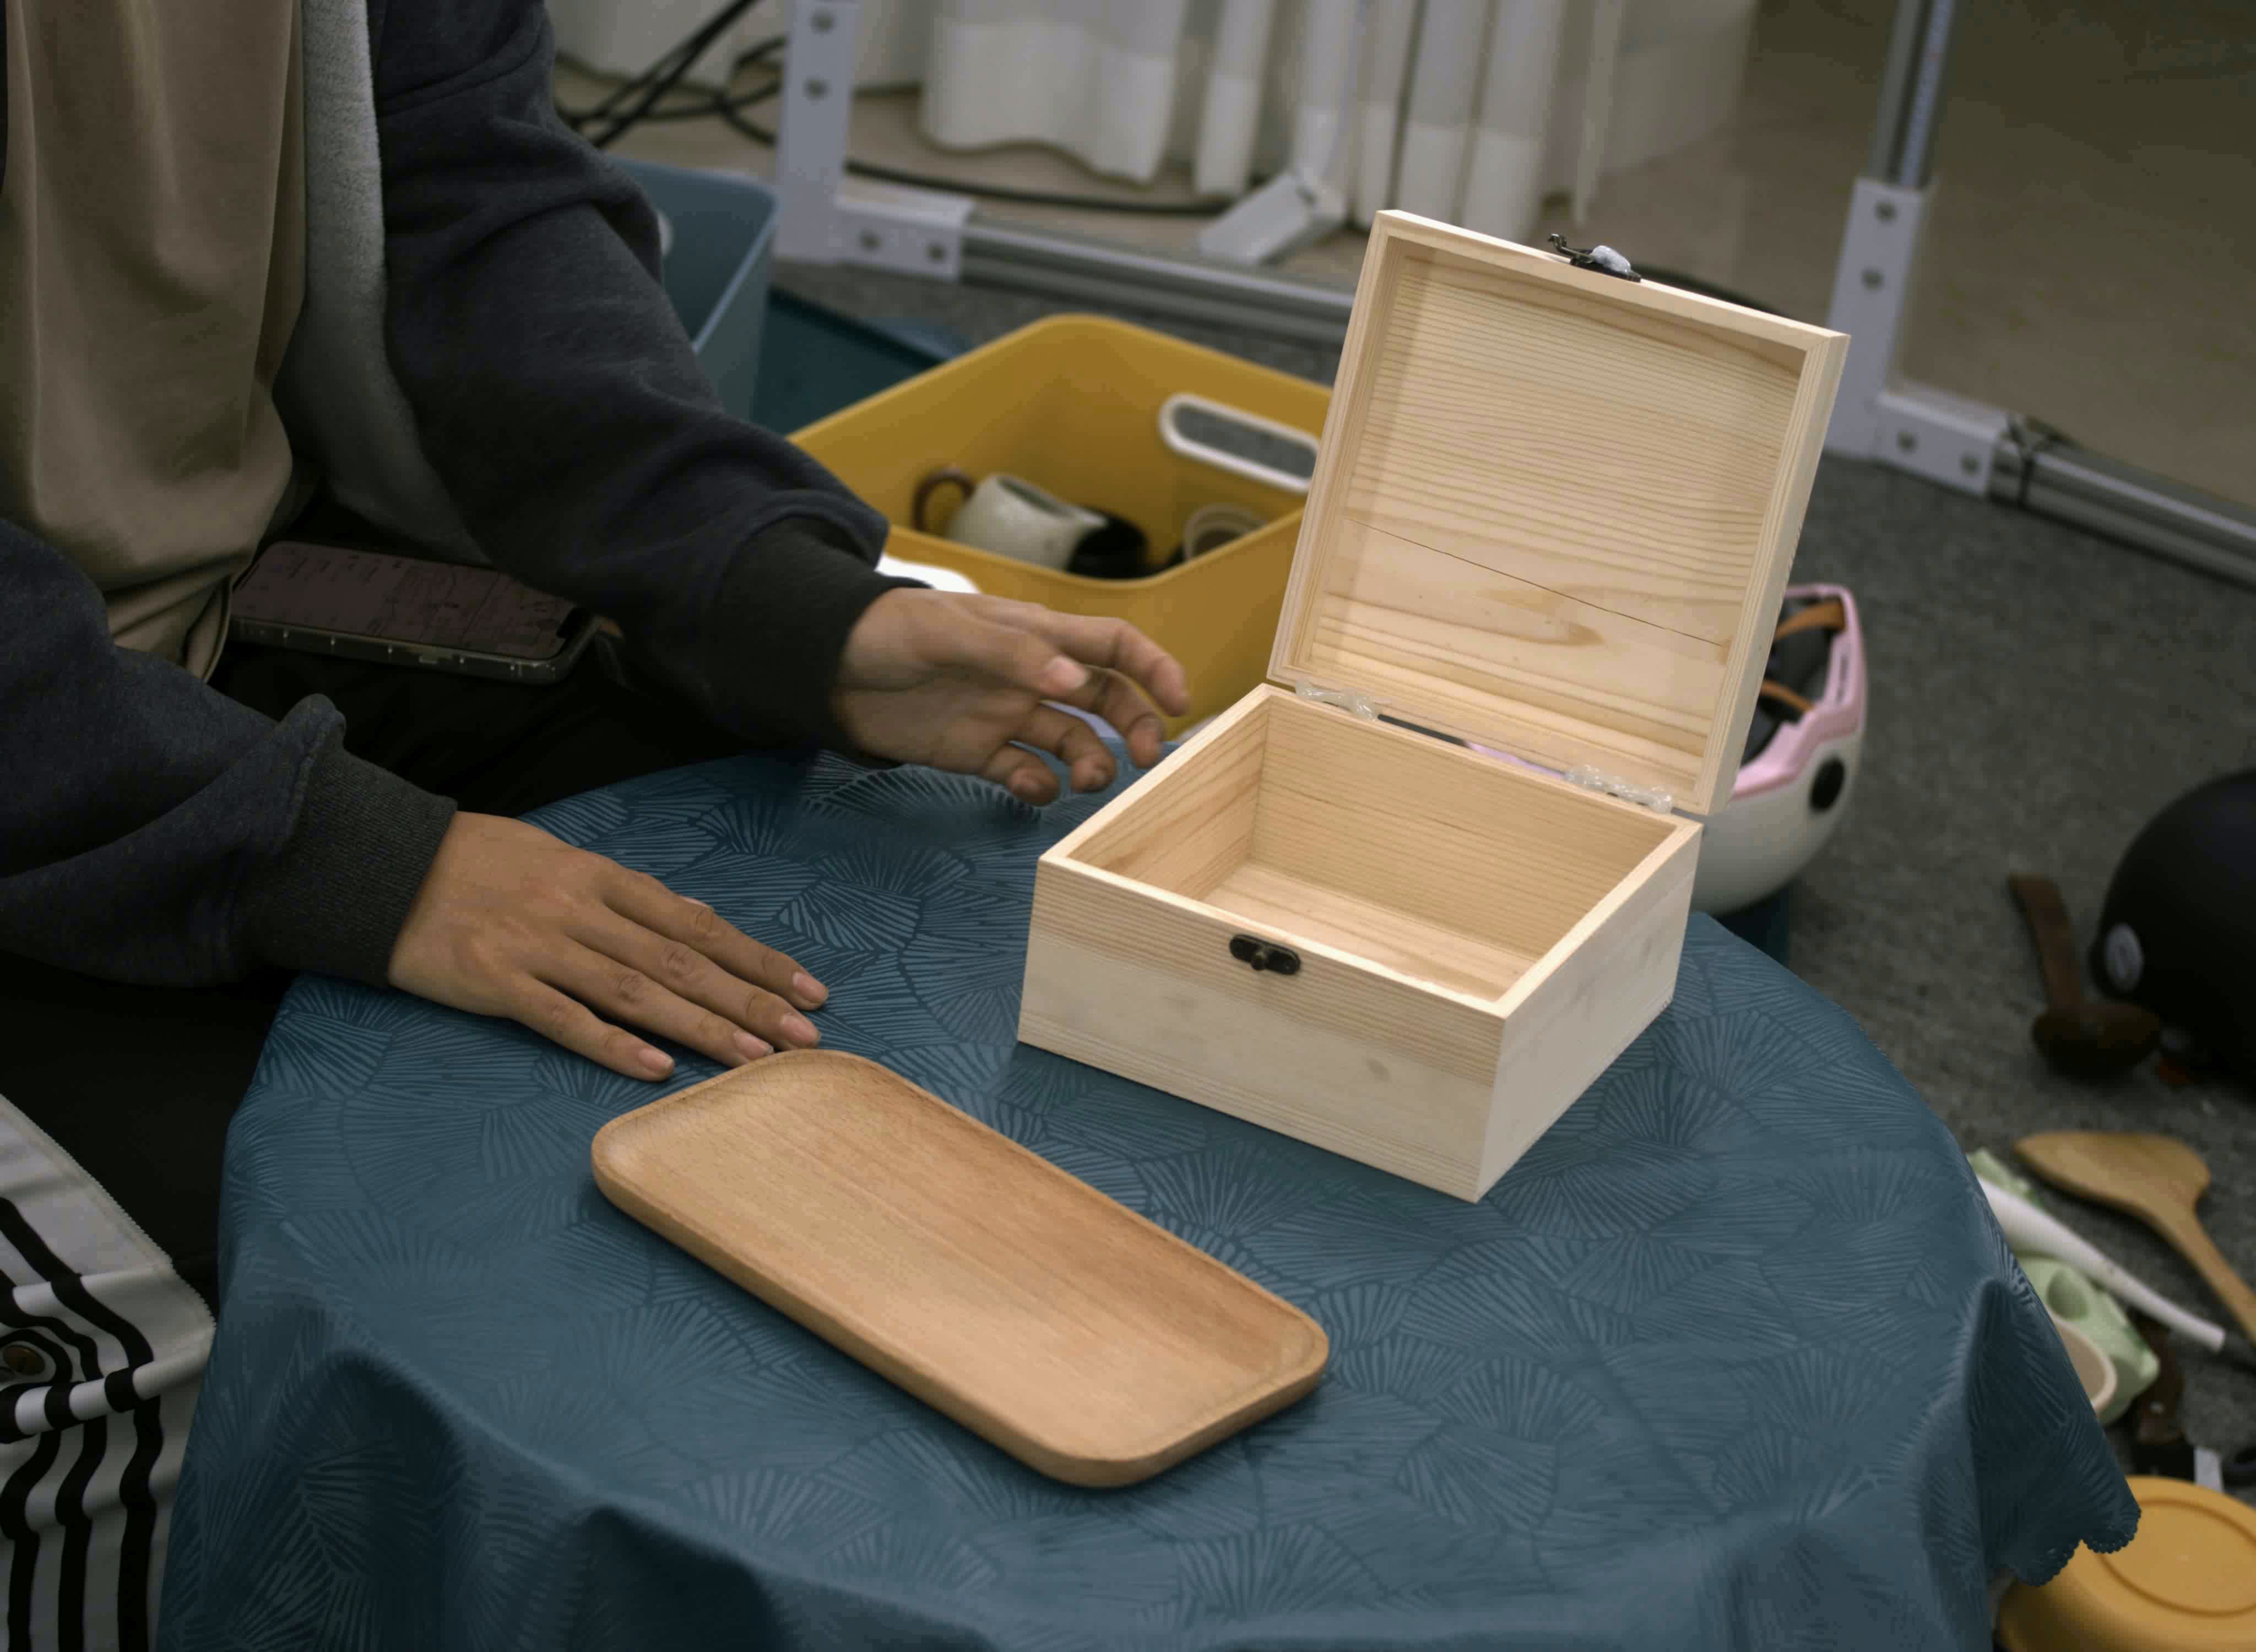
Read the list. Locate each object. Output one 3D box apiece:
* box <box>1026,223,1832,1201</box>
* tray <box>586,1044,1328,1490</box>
[{"bbox_3d":[0.108,-0.050,1.899,0.182,0.252,0.265,15,26,22],"label":"box"},{"bbox_3d":[-0.058,0.141,1.734,0.252,0.023,0.130,28,31,36],"label":"tray"}]
